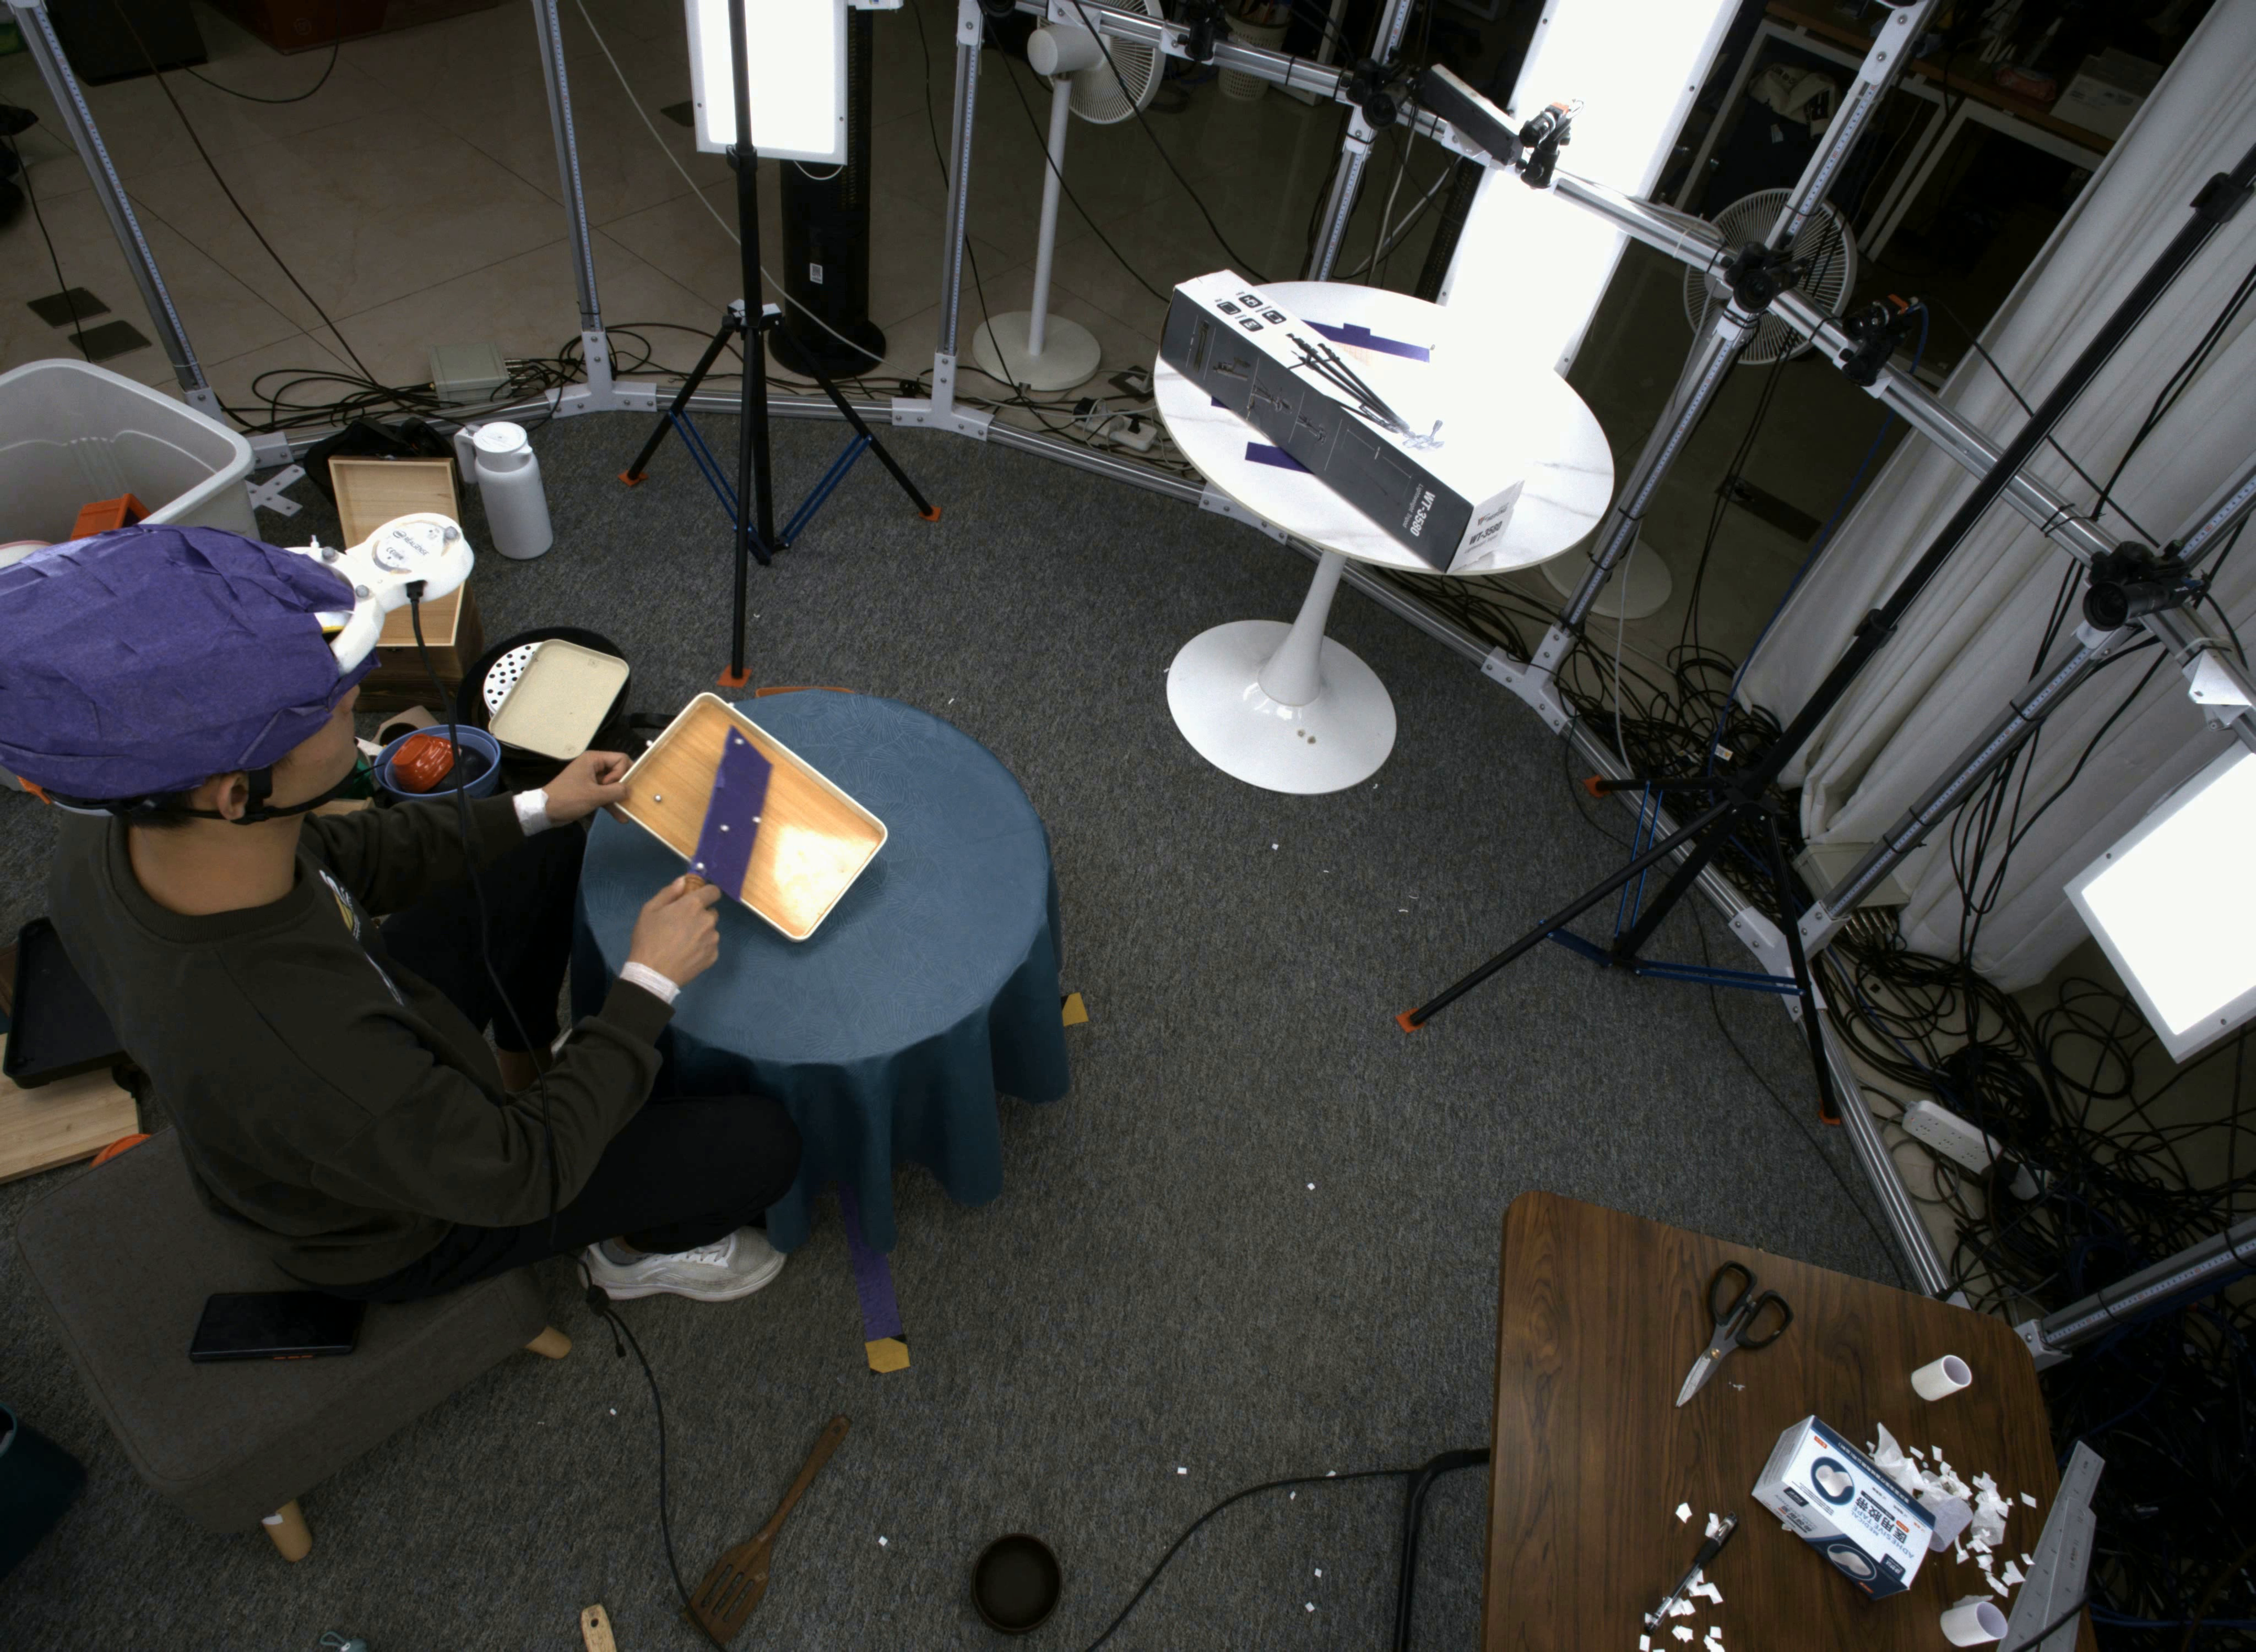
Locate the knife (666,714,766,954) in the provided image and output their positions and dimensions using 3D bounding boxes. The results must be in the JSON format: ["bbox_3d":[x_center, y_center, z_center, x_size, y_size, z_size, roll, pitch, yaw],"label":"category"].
[{"bbox_3d":[-0.475,0.019,1.517,0.031,0.108,0.310,-10,55,21],"label":"knife"}]

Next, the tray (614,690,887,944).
[{"bbox_3d":[-0.474,-0.012,1.628,0.303,0.027,0.191,38,68,-10],"label":"tray"}]
